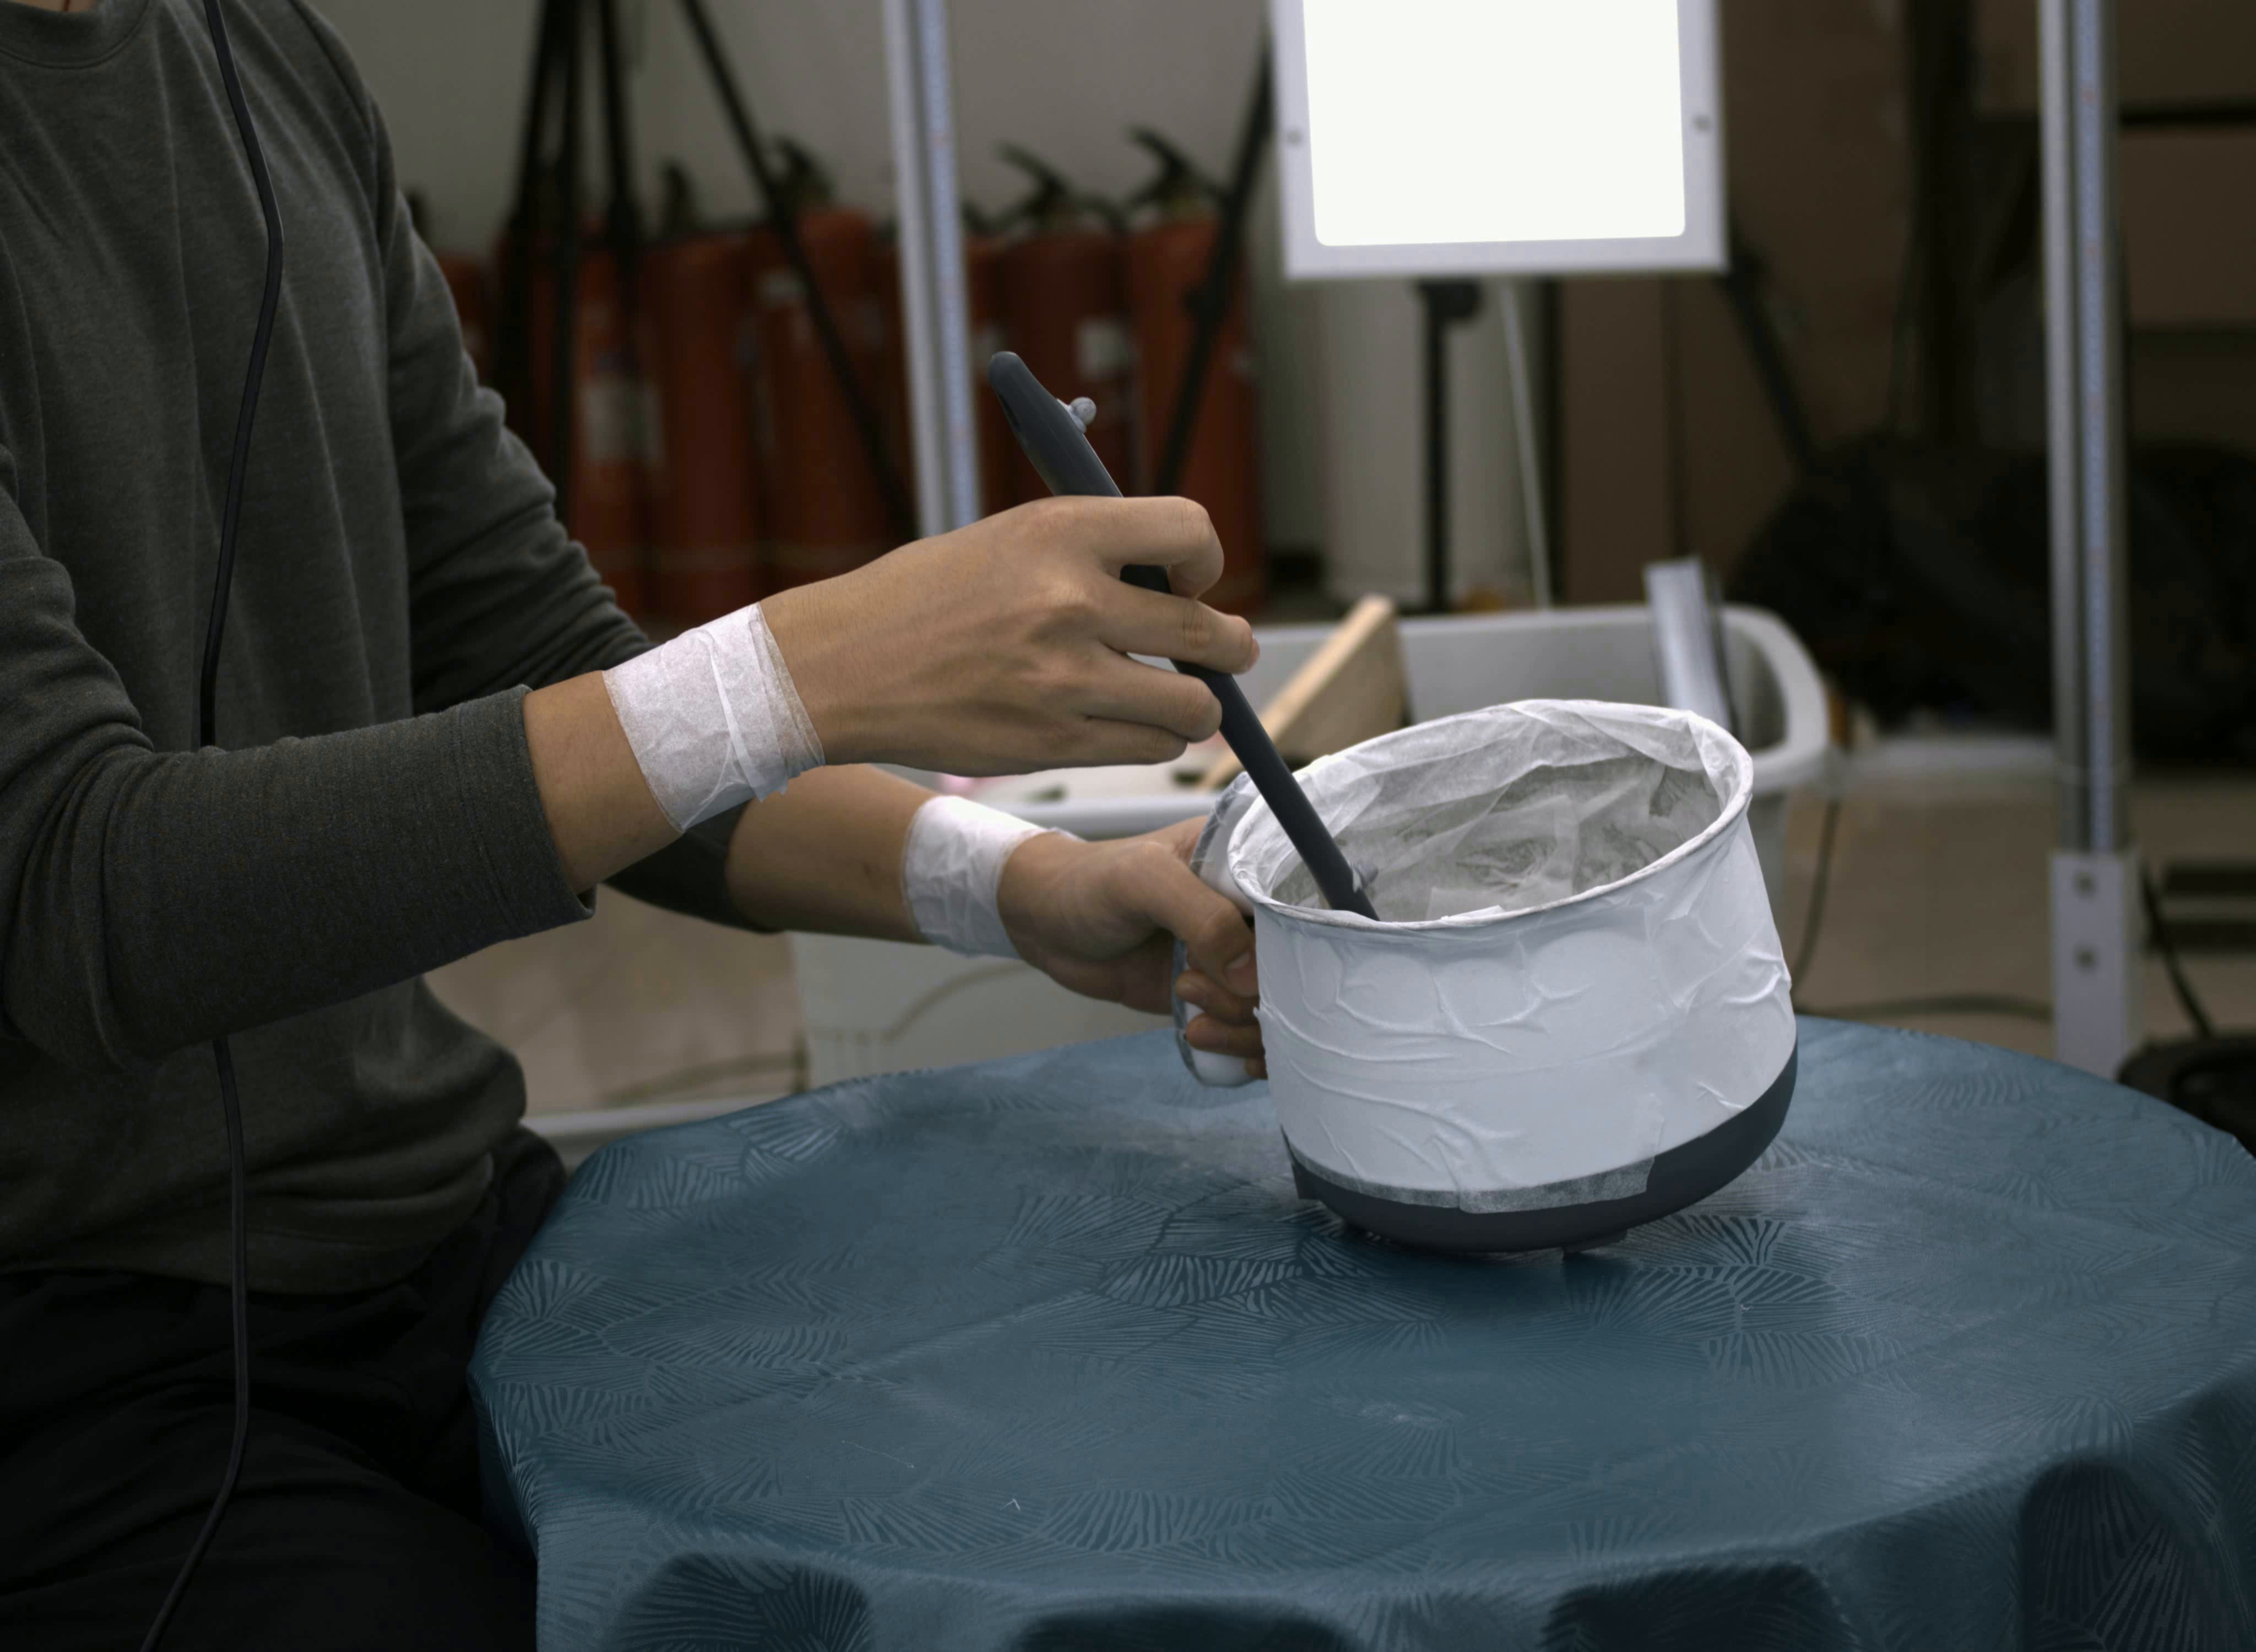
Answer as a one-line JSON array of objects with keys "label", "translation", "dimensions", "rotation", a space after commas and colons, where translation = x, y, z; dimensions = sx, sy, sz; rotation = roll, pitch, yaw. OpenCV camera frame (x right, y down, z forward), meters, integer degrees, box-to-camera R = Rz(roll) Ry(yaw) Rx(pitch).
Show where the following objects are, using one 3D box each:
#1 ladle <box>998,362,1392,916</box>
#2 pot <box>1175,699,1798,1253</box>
[{"label": "ladle", "translation": [0.059, -0.042, 1.756], "dimensions": [0.063, 0.311, 0.087], "rotation": [-41, 28, -11]}, {"label": "pot", "translation": [0.110, 0.049, 1.853], "dimensions": [0.239, 0.137, 0.174], "rotation": [5, 28, 38]}]
